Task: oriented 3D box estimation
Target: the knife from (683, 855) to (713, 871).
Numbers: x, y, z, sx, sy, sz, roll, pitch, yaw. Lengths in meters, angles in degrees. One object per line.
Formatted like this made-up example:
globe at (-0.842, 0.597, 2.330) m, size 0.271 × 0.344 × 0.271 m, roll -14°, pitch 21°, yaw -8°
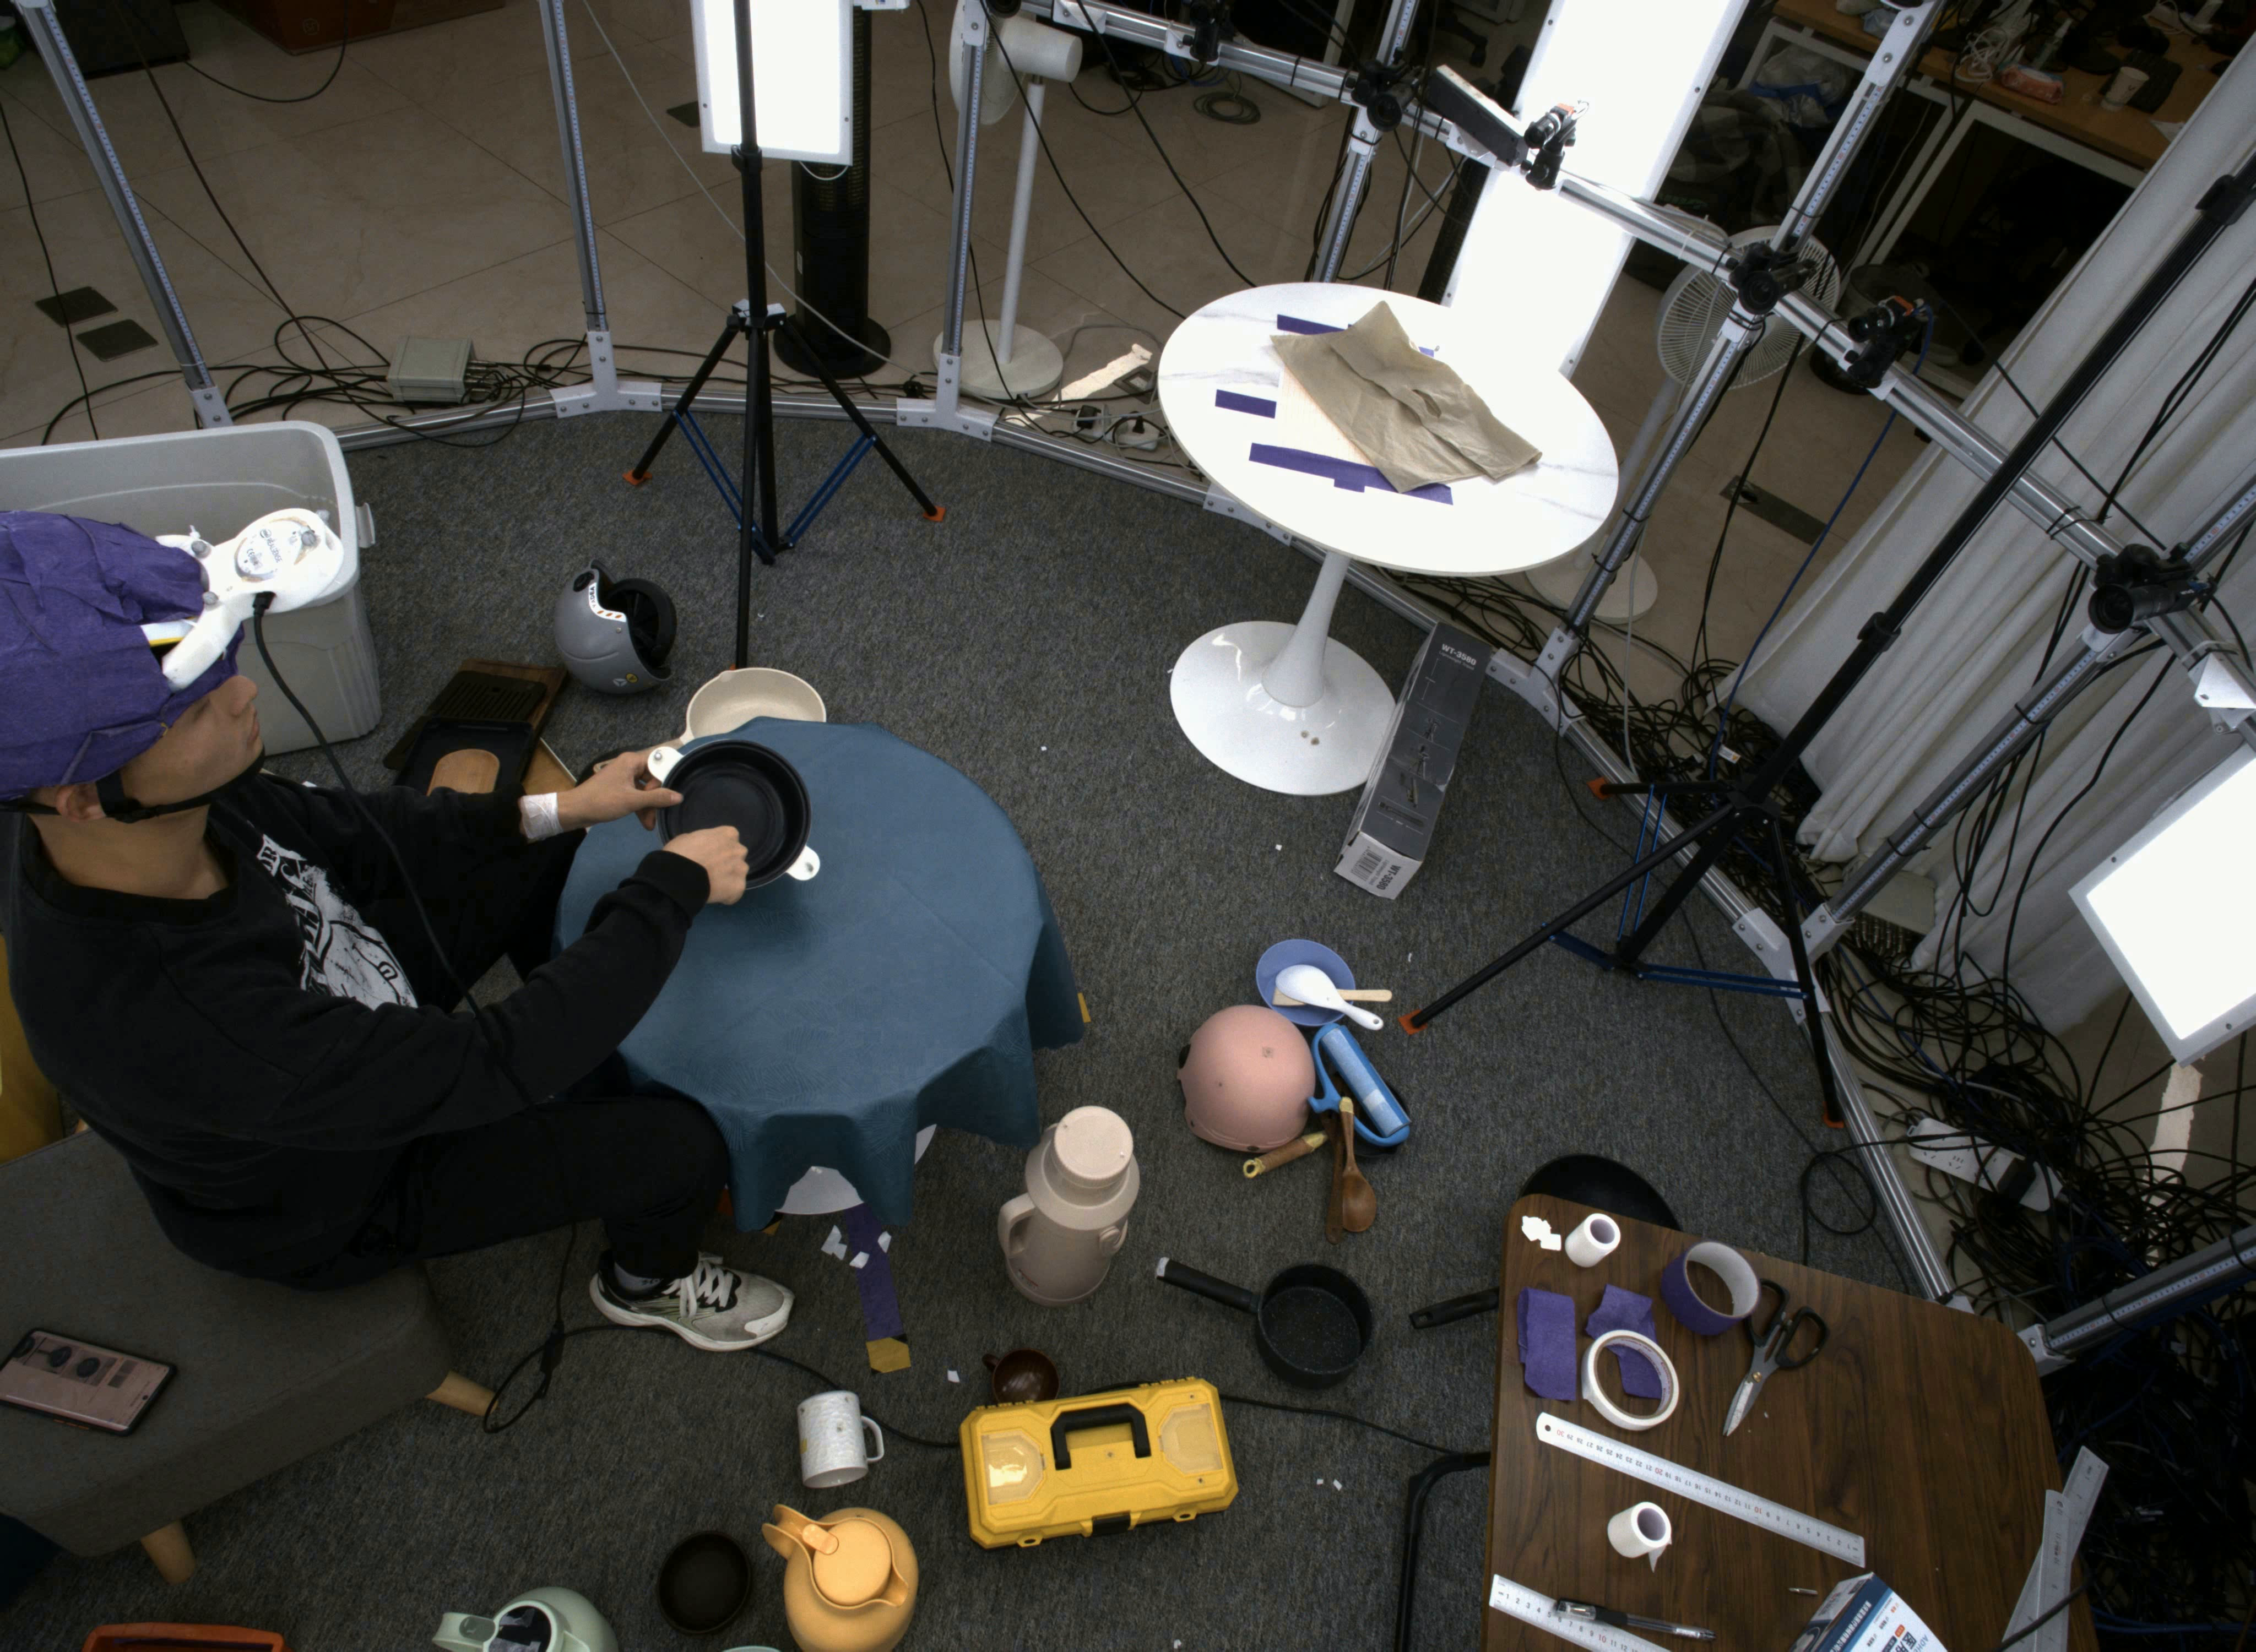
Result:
knife at (-0.500, 0.042, 1.486) m, size 0.026 × 0.220 × 0.017 m, roll 7°, pitch 85°, yaw -24°

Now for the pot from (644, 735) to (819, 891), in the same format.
pot at (-0.492, -0.017, 1.594) m, size 0.245 × 0.139 × 0.190 m, roll 38°, pitch 76°, yaw -19°
